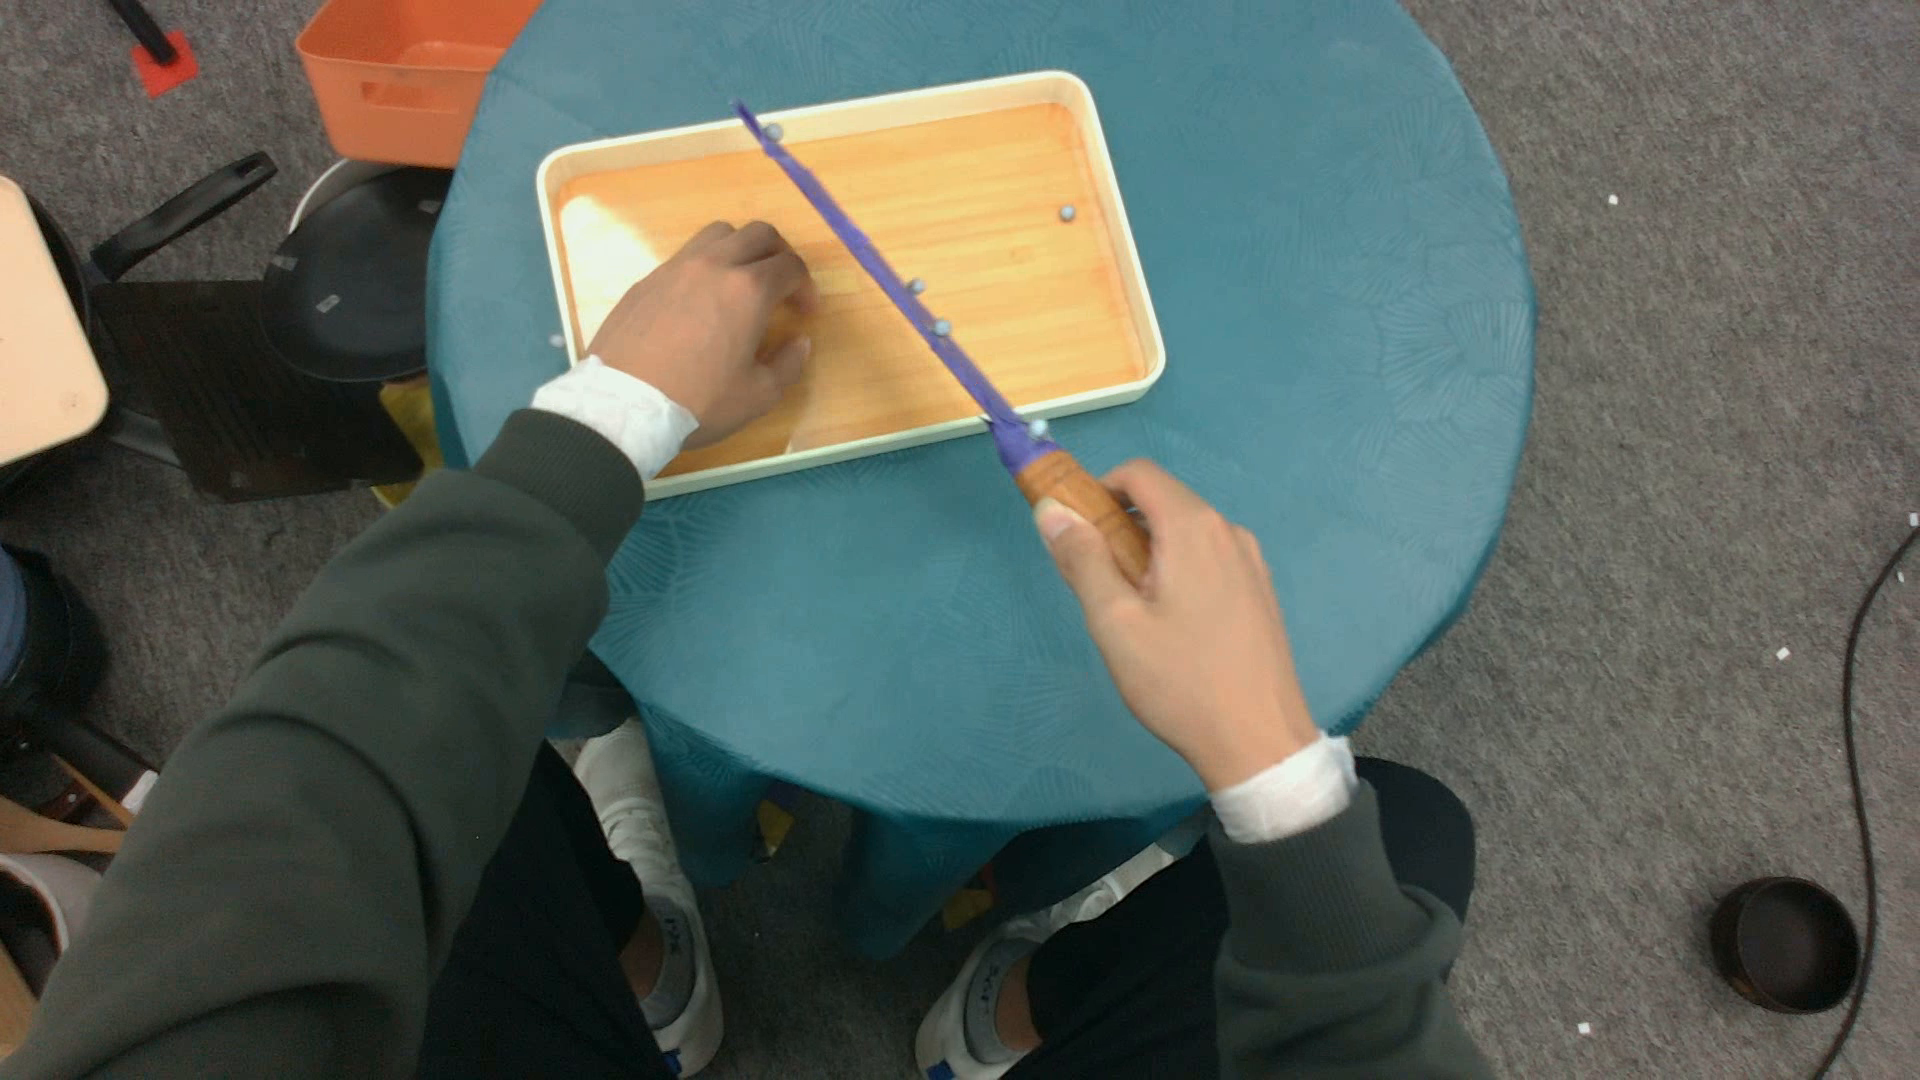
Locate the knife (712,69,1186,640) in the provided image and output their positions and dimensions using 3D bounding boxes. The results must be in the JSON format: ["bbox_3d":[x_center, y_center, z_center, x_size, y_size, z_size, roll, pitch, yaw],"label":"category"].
[{"bbox_3d":[-0.001,-0.088,0.618,0.032,0.104,0.315,-40,76,12],"label":"knife"}]

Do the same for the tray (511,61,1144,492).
[{"bbox_3d":[-0.068,-0.144,0.725,0.301,0.027,0.192,-13,77,-11],"label":"tray"}]
